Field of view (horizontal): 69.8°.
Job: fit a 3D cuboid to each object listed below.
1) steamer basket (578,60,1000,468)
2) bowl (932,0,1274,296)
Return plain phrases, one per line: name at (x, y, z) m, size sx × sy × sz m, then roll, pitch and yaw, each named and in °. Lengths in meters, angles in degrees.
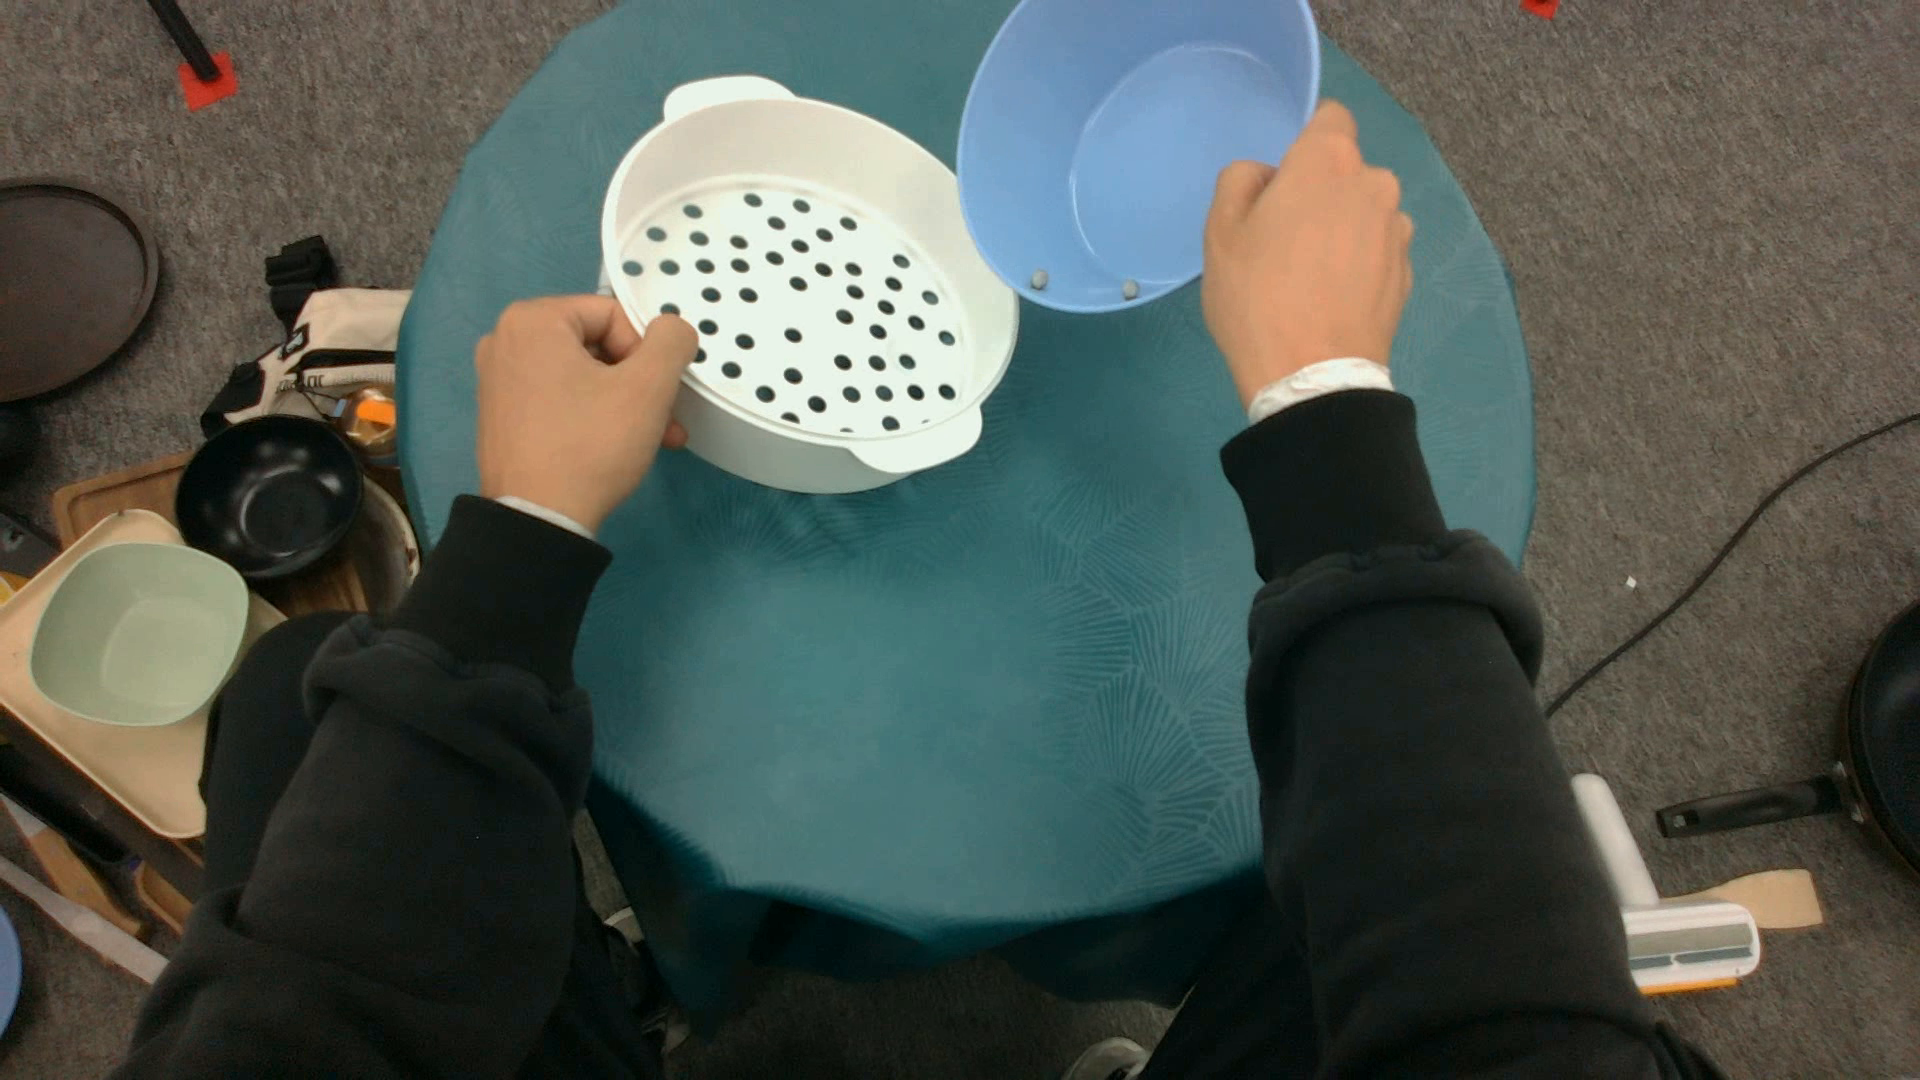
steamer basket at (-0.084, -0.129, 0.673) m, size 0.202 × 0.069 × 0.231 m, roll -22°, pitch 71°, yaw -31°
bowl at (0.076, -0.192, 0.639) m, size 0.175 × 0.070 × 0.176 m, roll -6°, pitch 80°, yaw 36°
